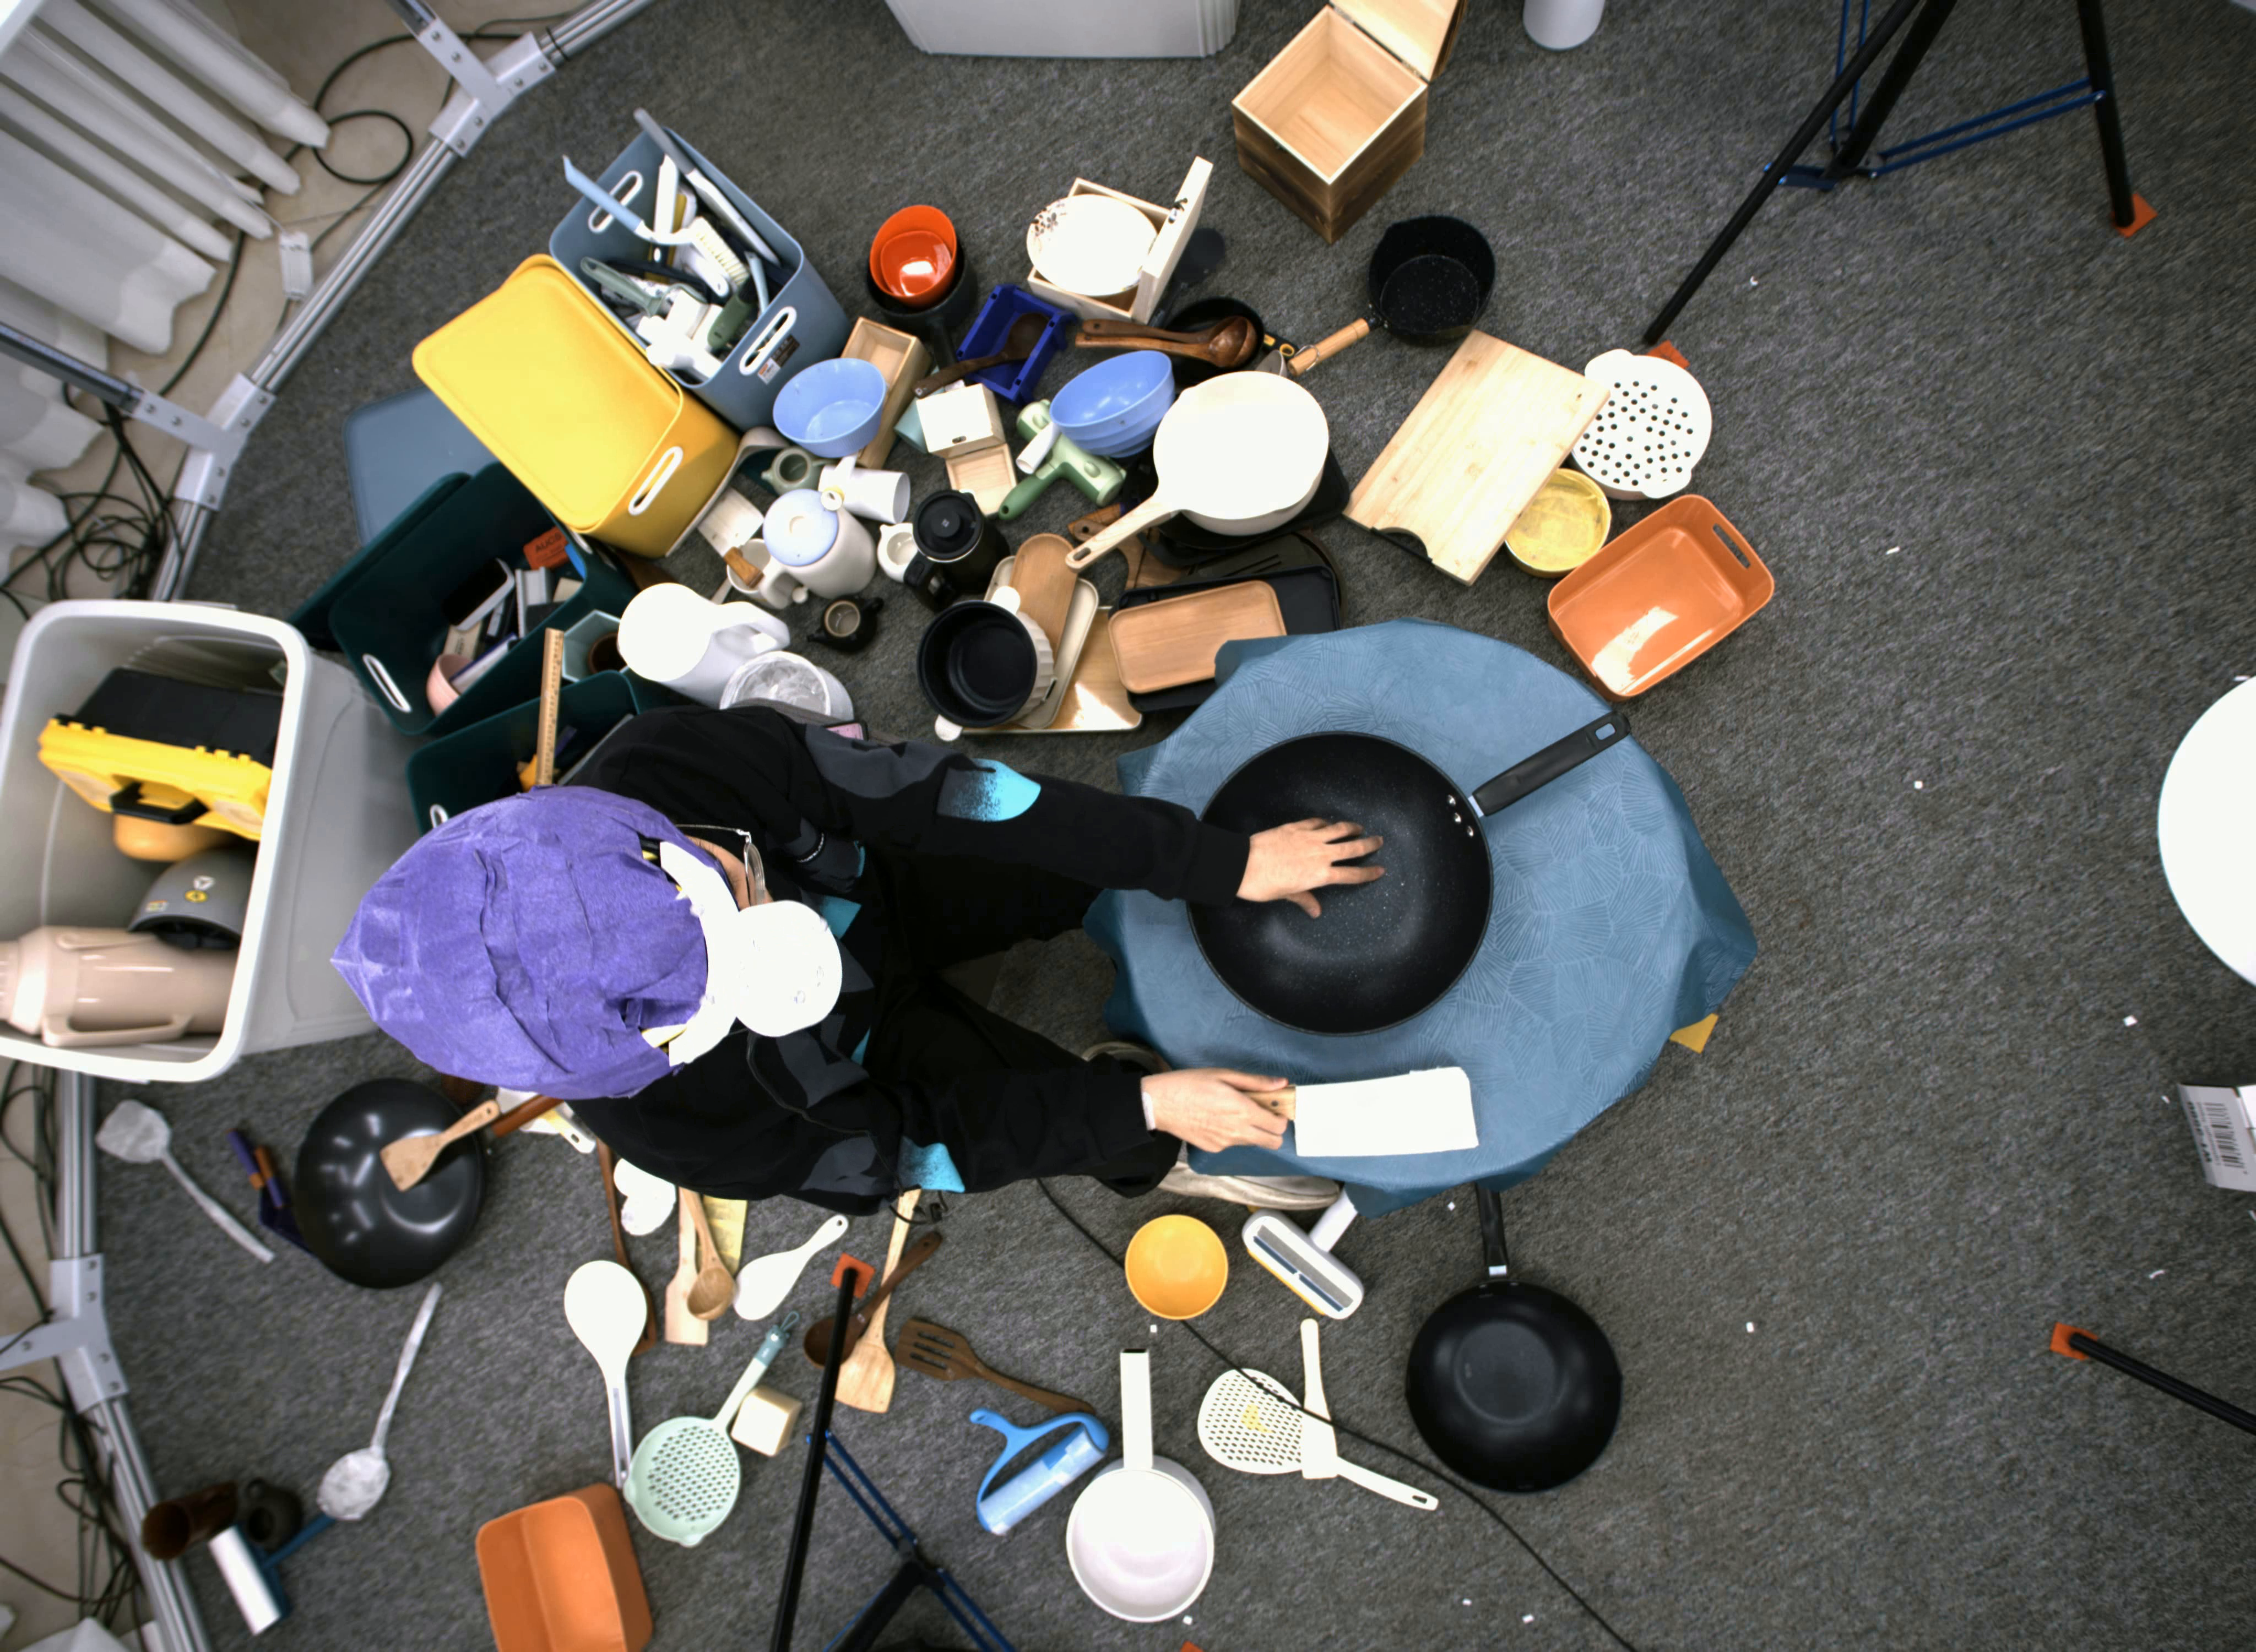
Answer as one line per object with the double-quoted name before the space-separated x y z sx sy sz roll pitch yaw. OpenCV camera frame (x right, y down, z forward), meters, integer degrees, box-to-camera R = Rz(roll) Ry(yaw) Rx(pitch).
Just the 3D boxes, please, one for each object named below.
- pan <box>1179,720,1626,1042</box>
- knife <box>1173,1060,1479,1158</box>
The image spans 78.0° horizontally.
"pan" 0.281 0.022 1.407 0.479 0.111 0.308 -30 84 8
"knife" 0.204 0.294 1.435 0.316 0.021 0.116 -3 112 9
